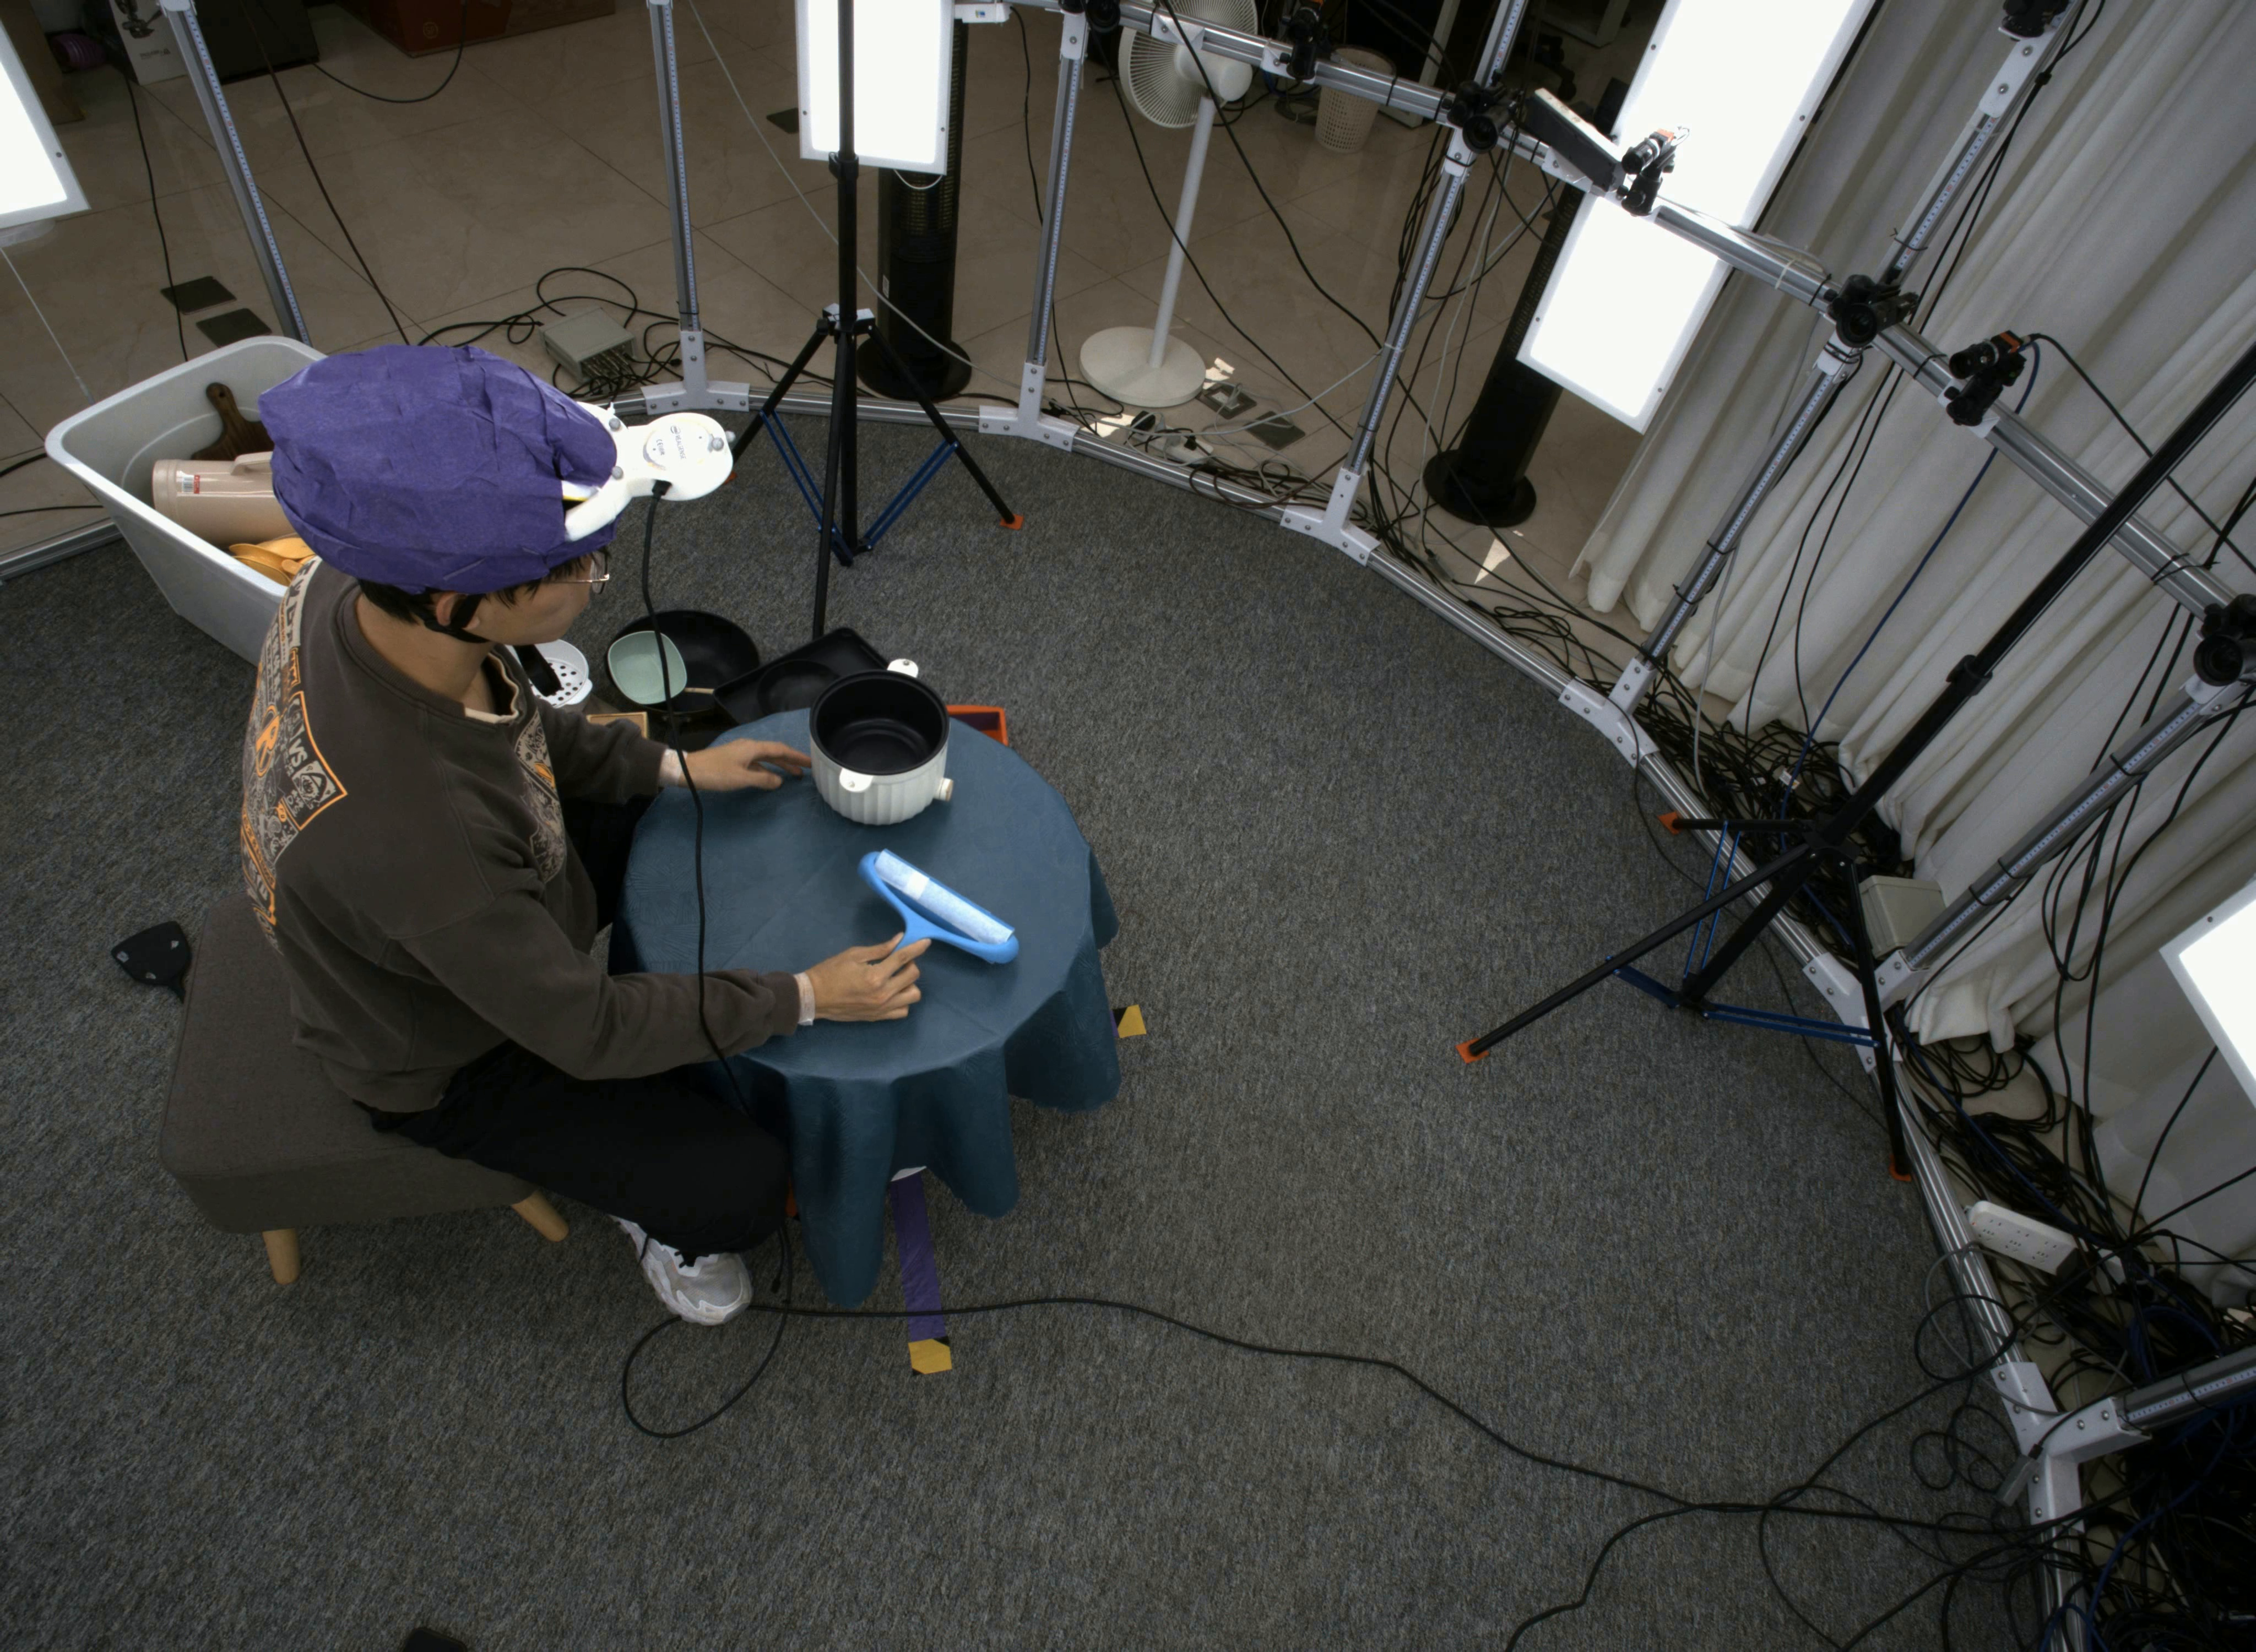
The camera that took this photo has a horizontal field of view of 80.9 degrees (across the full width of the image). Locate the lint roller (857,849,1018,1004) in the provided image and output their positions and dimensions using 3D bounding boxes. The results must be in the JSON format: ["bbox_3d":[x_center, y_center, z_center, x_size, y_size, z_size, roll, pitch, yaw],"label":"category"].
[{"bbox_3d":[-0.262,0.138,1.613,0.229,0.068,0.179,31,50,-4],"label":"lint roller"}]

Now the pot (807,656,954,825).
[{"bbox_3d":[-0.329,-0.098,1.745,0.188,0.146,0.237,12,53,1],"label":"pot"}]
